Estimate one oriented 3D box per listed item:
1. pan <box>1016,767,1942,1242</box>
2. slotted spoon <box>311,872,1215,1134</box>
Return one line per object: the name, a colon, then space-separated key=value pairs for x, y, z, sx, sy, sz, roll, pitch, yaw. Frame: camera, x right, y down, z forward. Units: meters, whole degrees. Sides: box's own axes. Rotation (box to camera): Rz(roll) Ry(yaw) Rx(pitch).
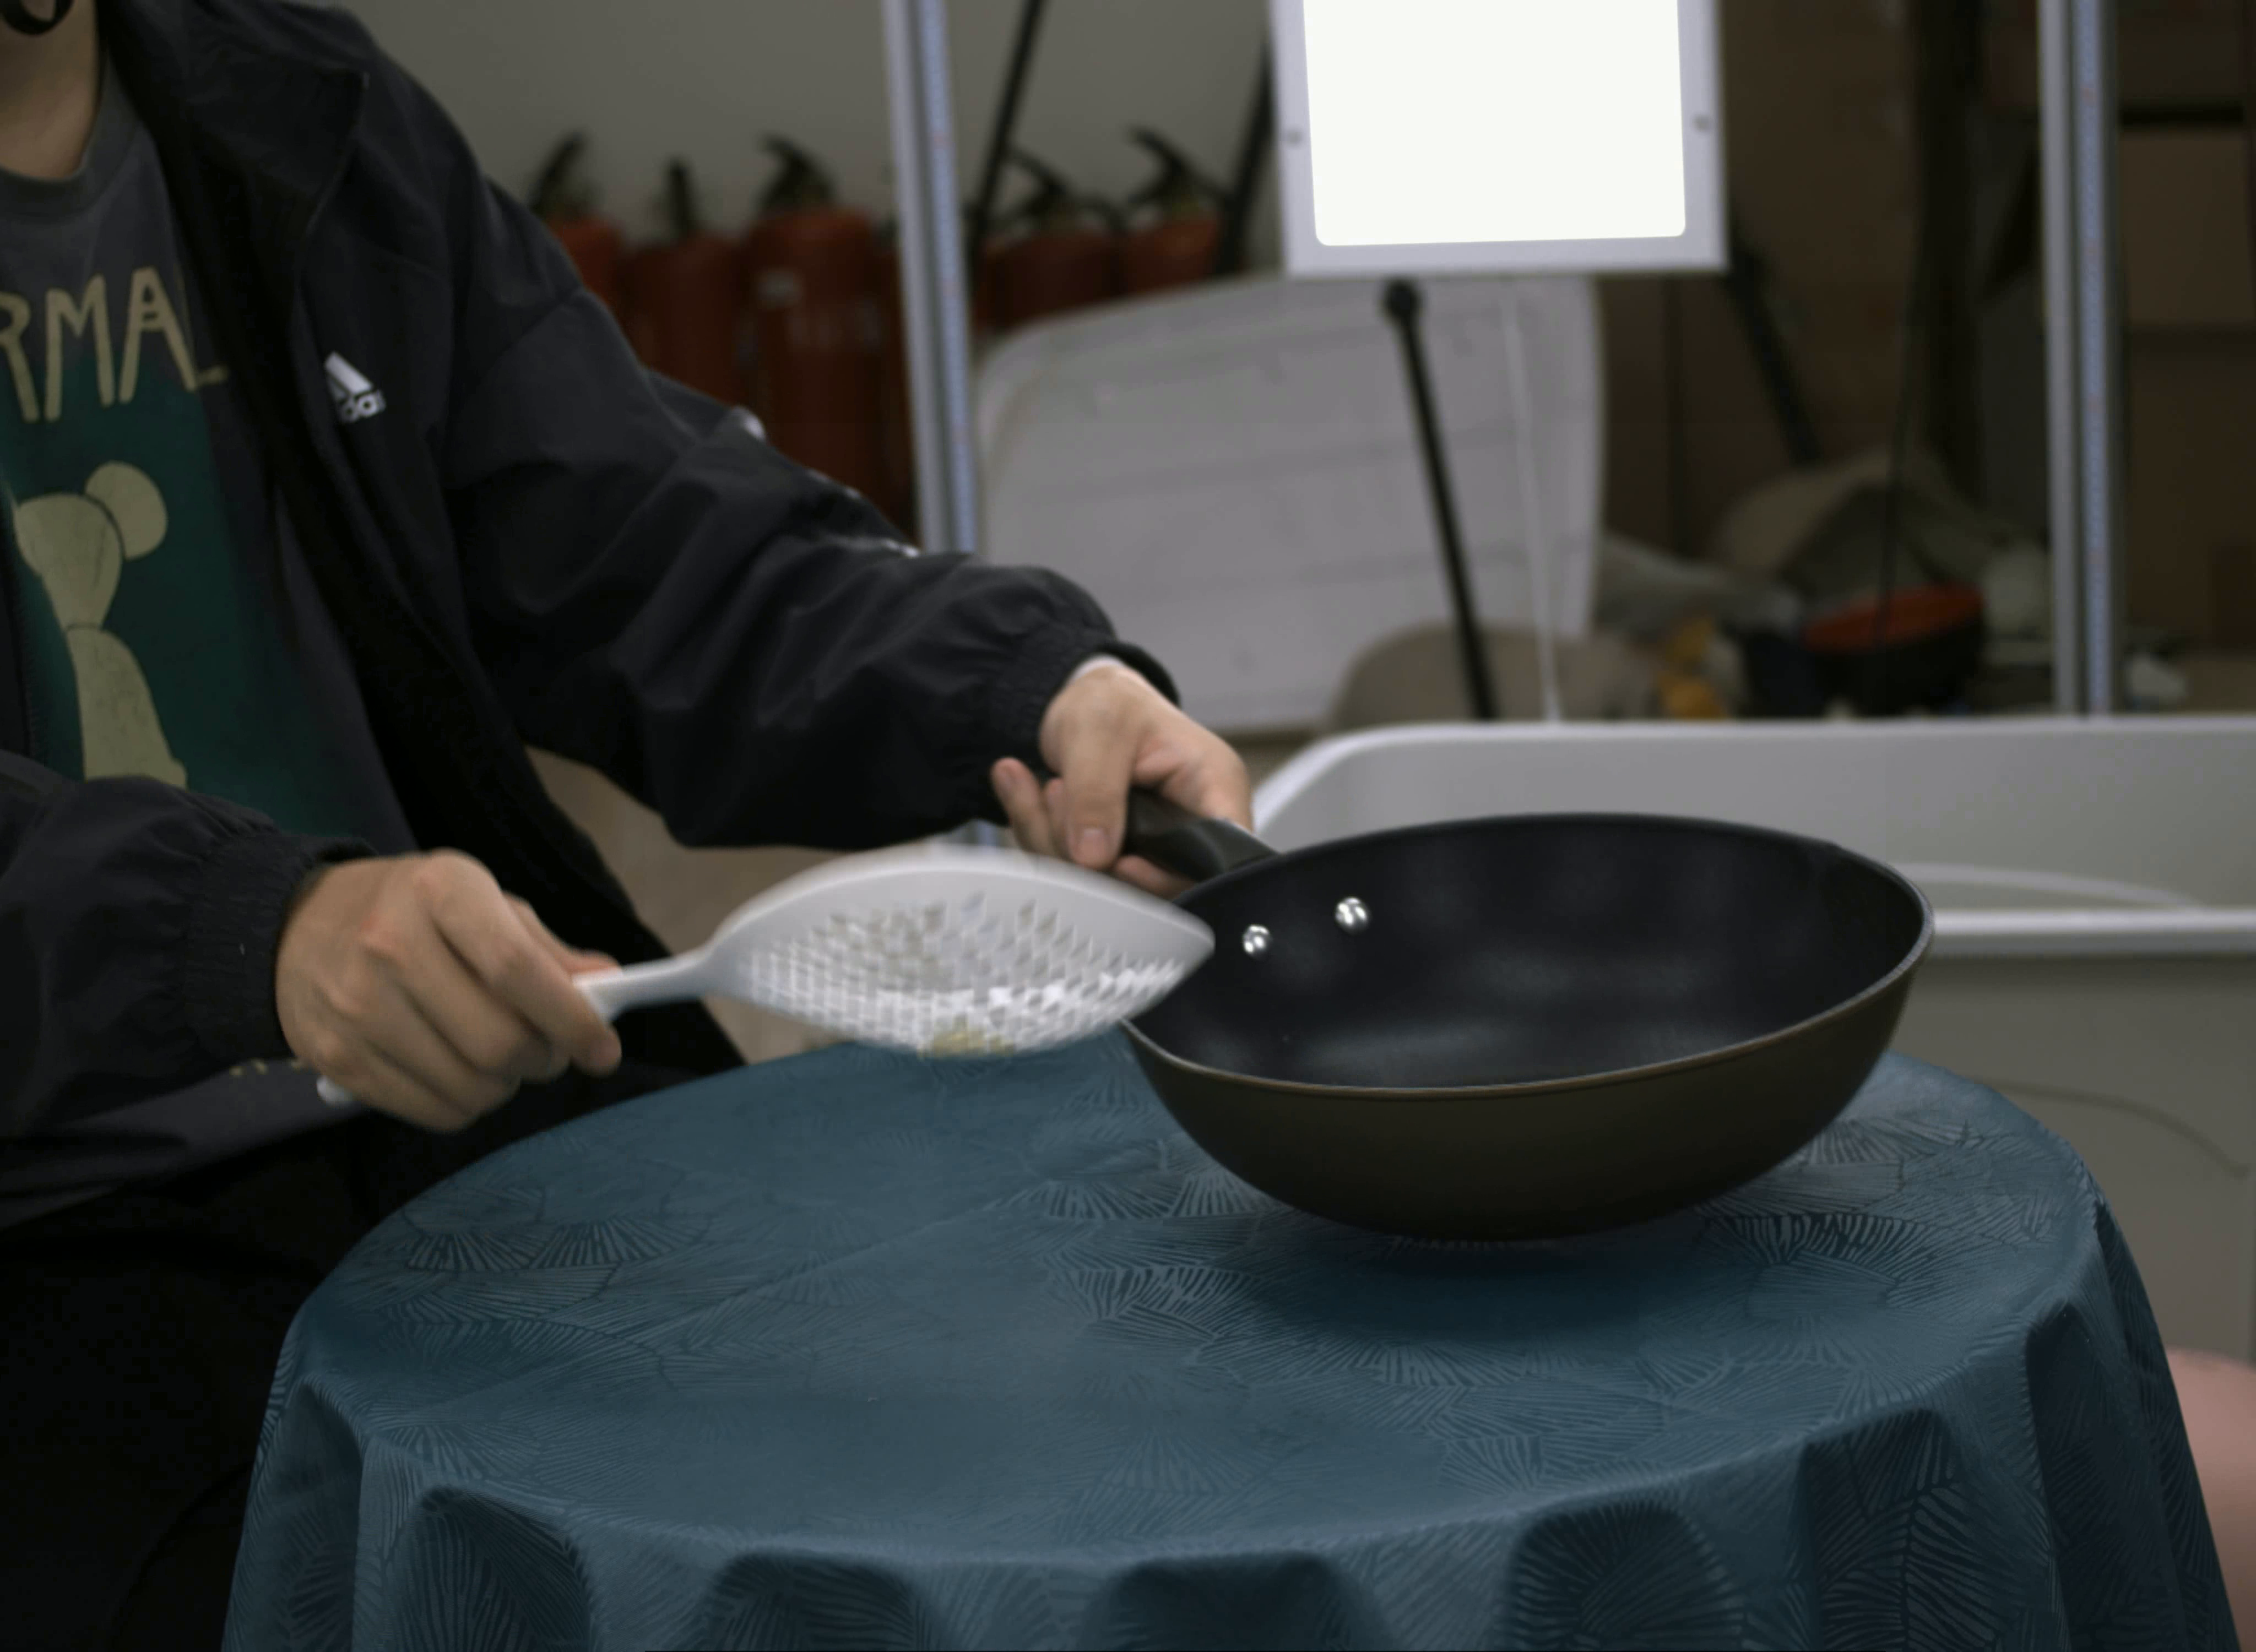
pan: x=0.086 y=0.058 z=1.934 sx=0.281 sy=0.087 sz=0.472 roll=-15 pitch=18 yaw=-29
slotted spoon: x=-0.128 y=0.063 z=1.747 sx=0.356 sy=0.050 sz=0.133 roll=-7 pitch=-16 yaw=40
